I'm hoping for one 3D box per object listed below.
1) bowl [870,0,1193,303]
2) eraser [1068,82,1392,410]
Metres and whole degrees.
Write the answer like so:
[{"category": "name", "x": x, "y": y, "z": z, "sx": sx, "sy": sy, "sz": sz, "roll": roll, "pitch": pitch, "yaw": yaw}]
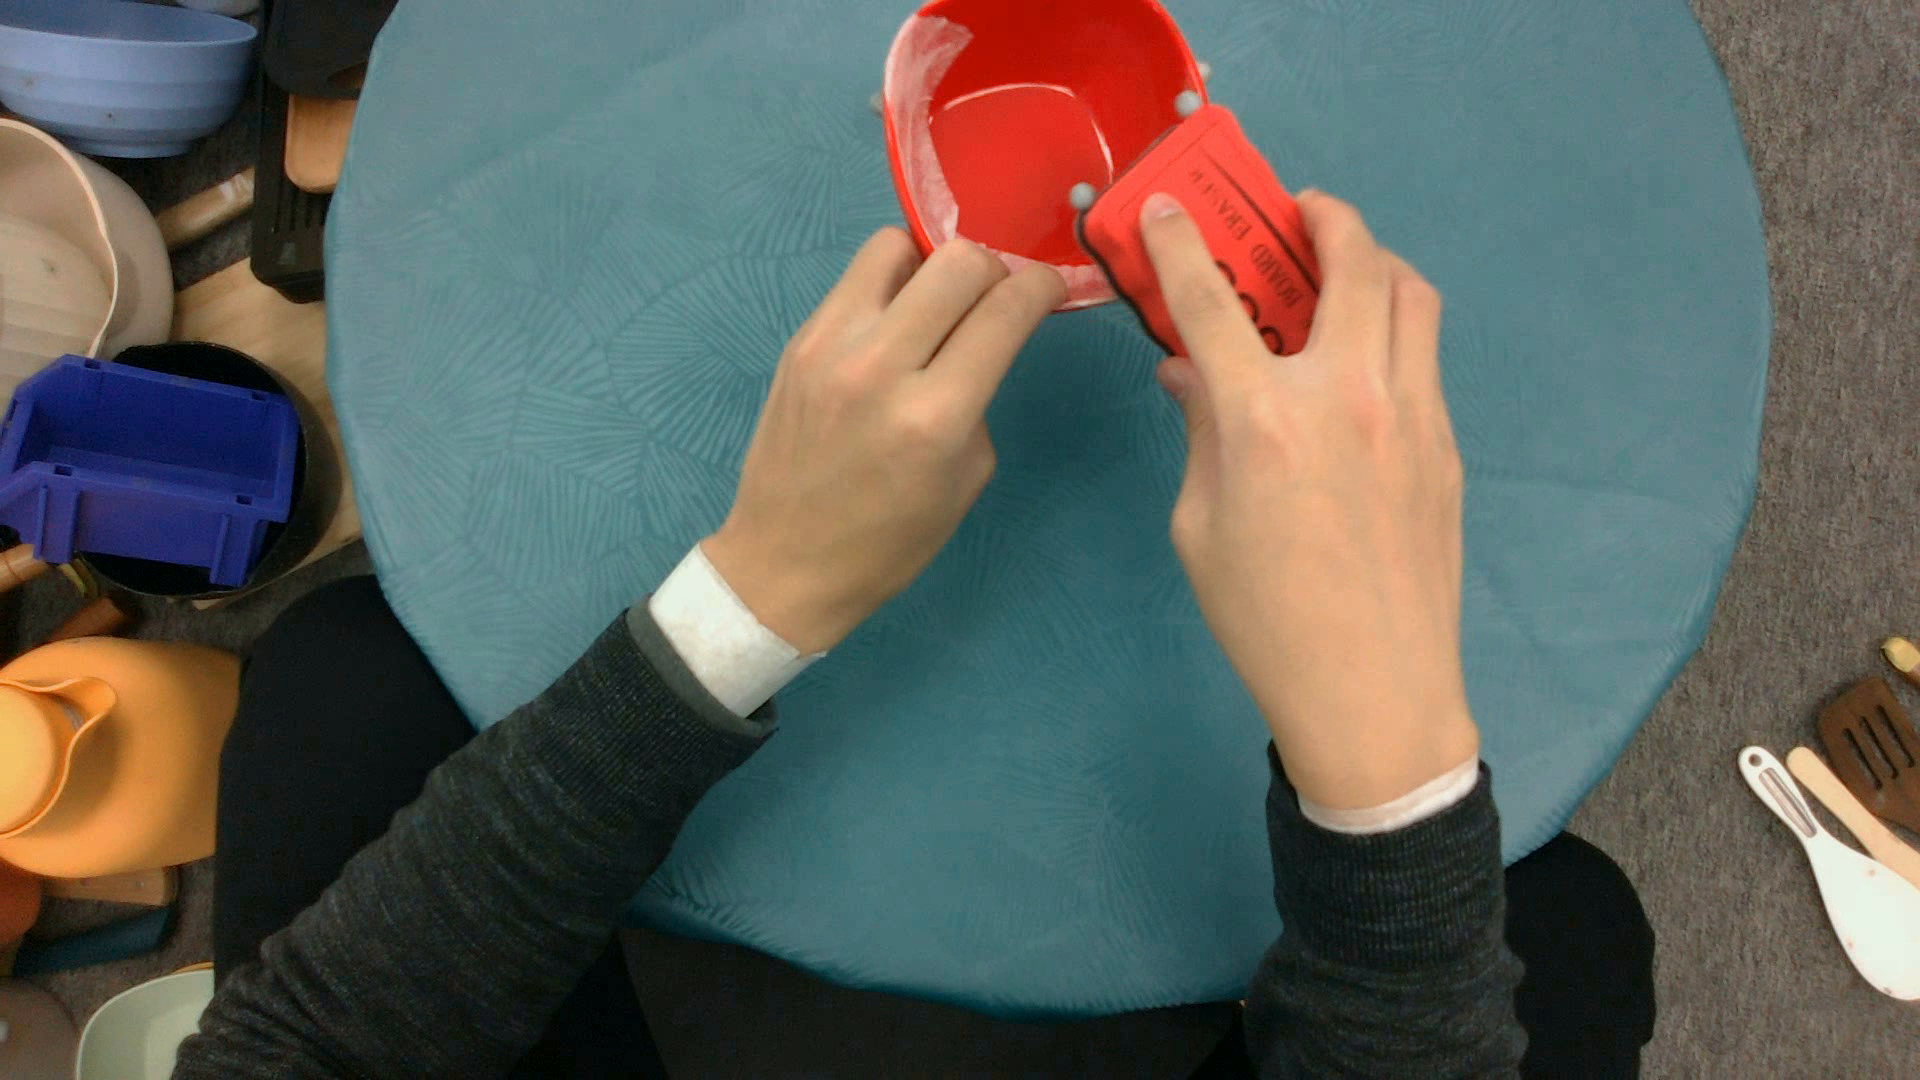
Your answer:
[{"category": "bowl", "x": 0.021, "y": -0.131, "z": 0.466, "sx": 0.119, "sy": 0.051, "sz": 0.119, "roll": 1, "pitch": 86, "yaw": -15}, {"category": "eraser", "x": 0.090, "y": -0.094, "z": 0.451, "sx": 0.108, "sy": 0.023, "sz": 0.059, "roll": 36, "pitch": 78, "yaw": -20}]
